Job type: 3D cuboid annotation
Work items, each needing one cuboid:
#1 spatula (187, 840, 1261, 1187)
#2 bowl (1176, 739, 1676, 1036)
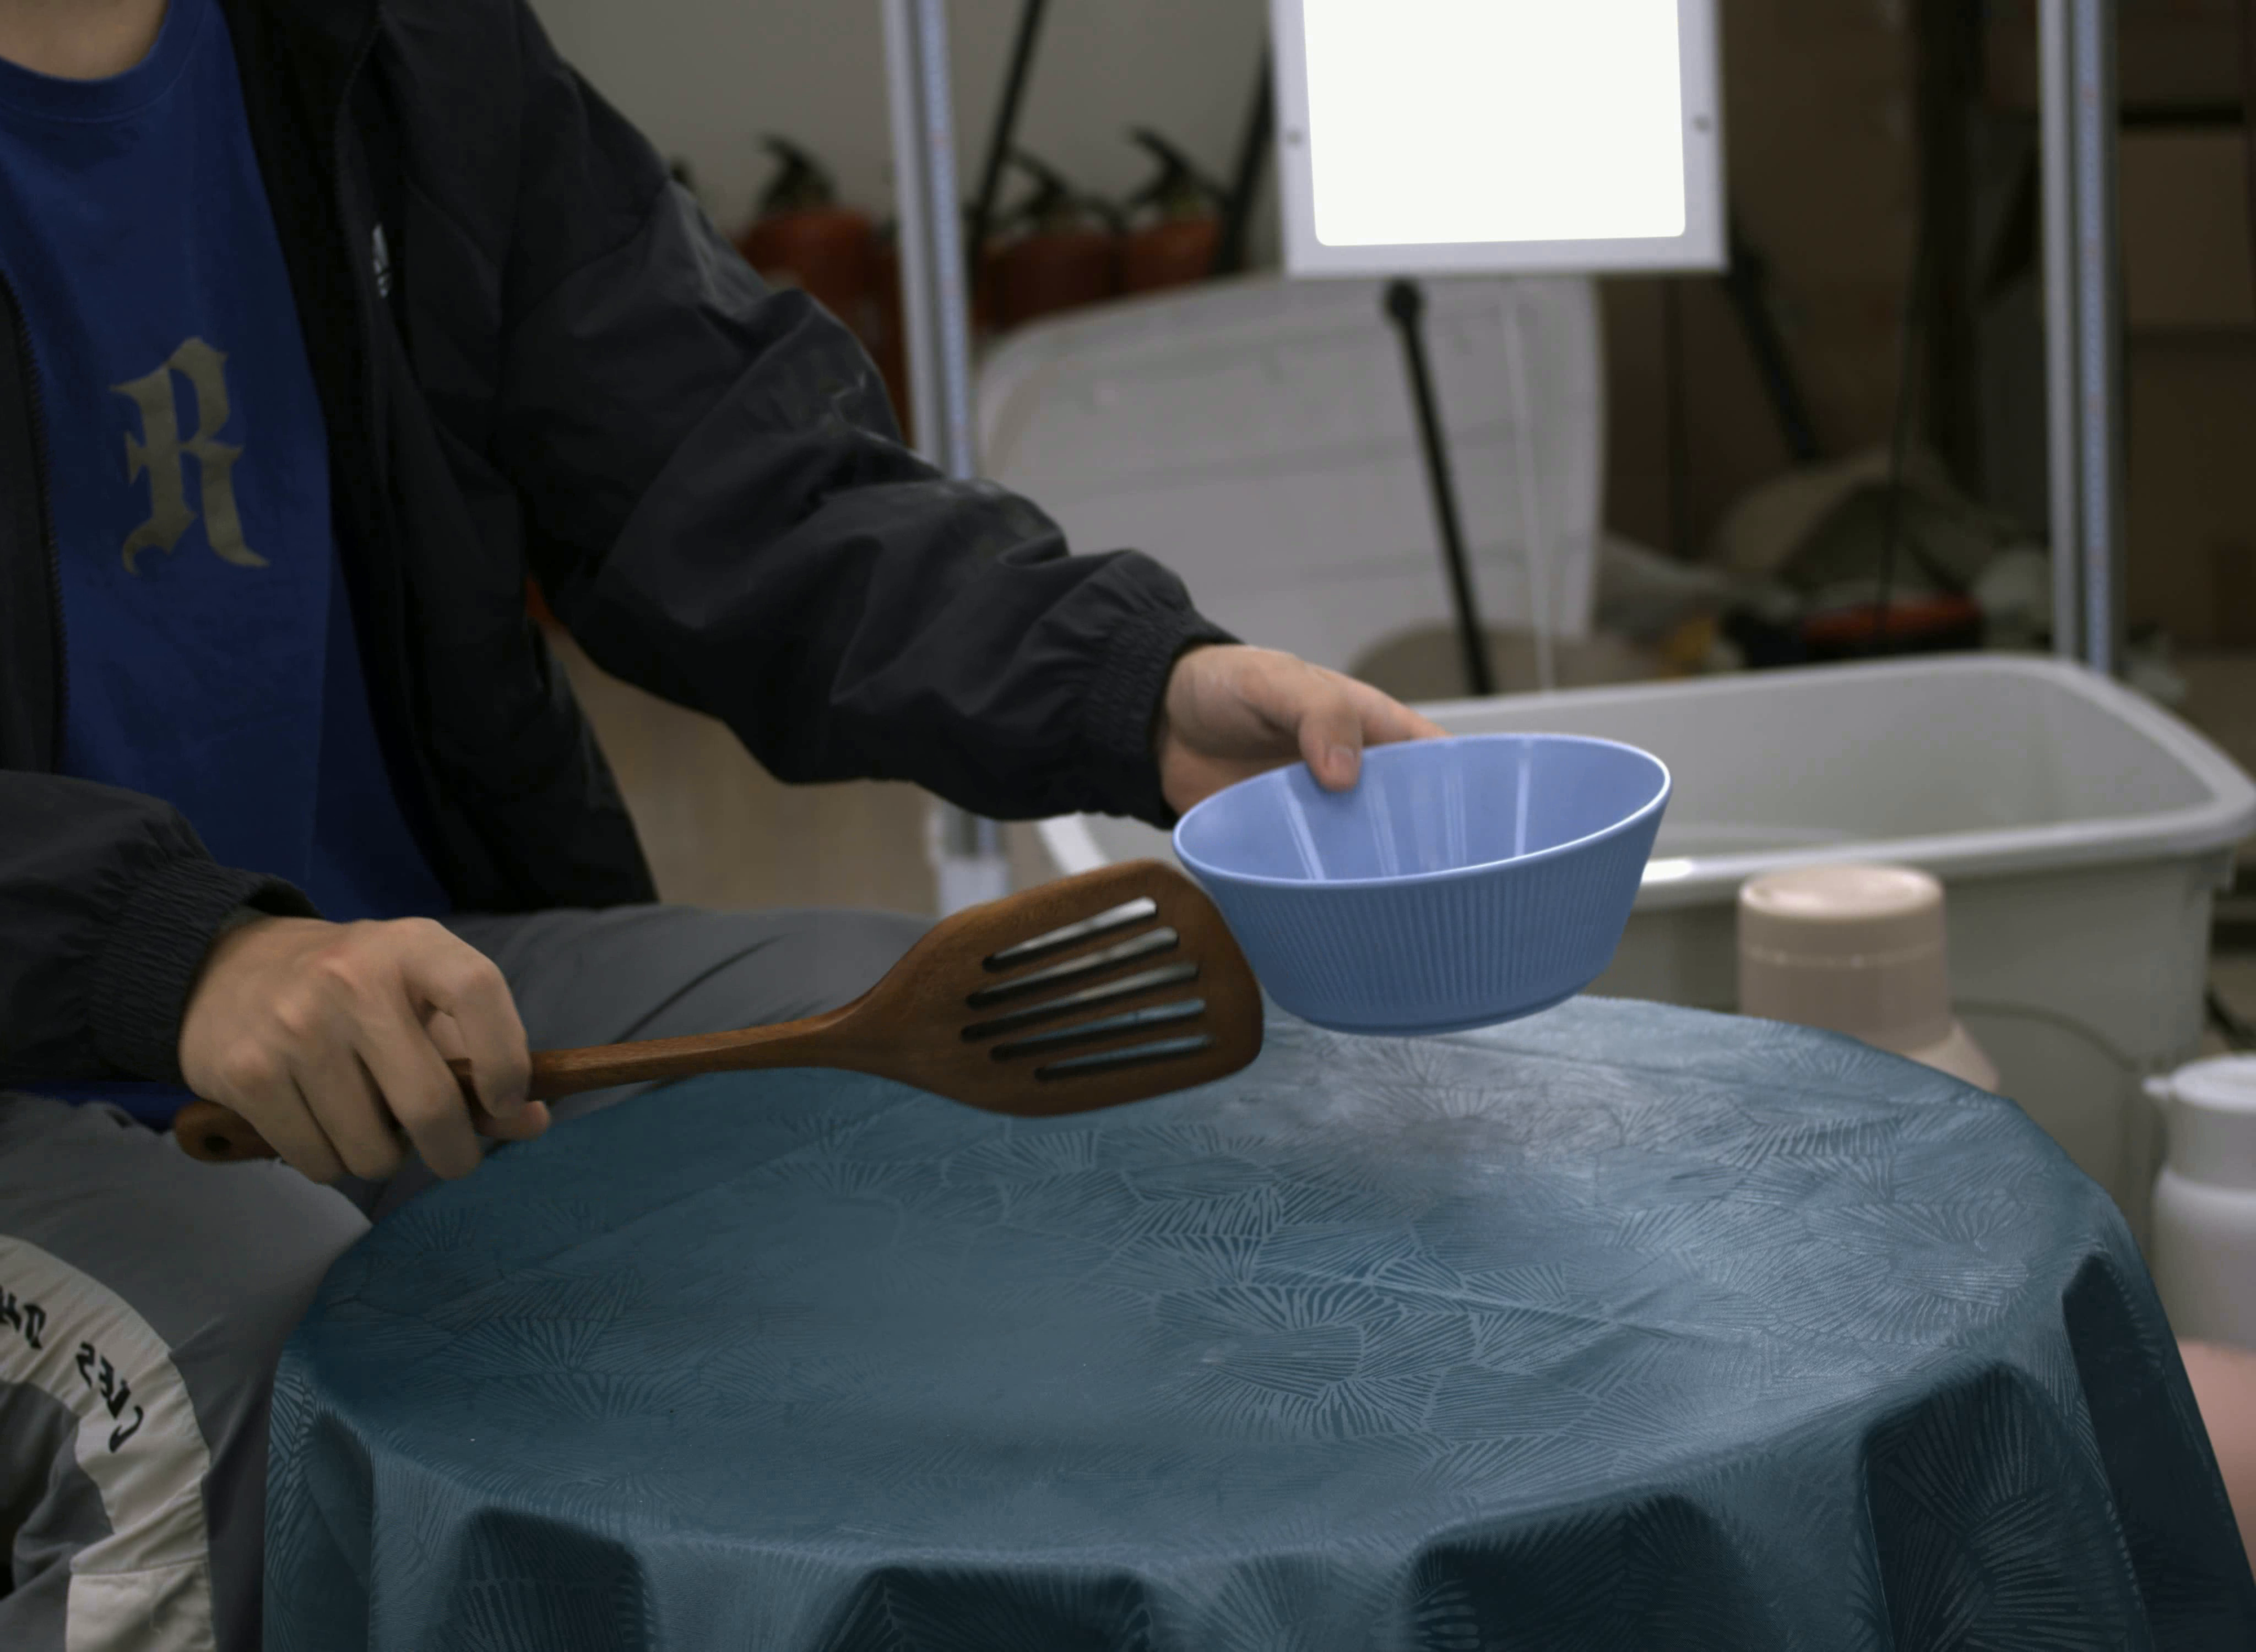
[{"bbox_3d":[-0.139,0.074,1.733,0.394,0.085,0.023,-12,30,28],"label":"spatula"},{"bbox_3d":[0.108,0.024,1.913,0.176,0.070,0.176,-9,13,1],"label":"bowl"}]
